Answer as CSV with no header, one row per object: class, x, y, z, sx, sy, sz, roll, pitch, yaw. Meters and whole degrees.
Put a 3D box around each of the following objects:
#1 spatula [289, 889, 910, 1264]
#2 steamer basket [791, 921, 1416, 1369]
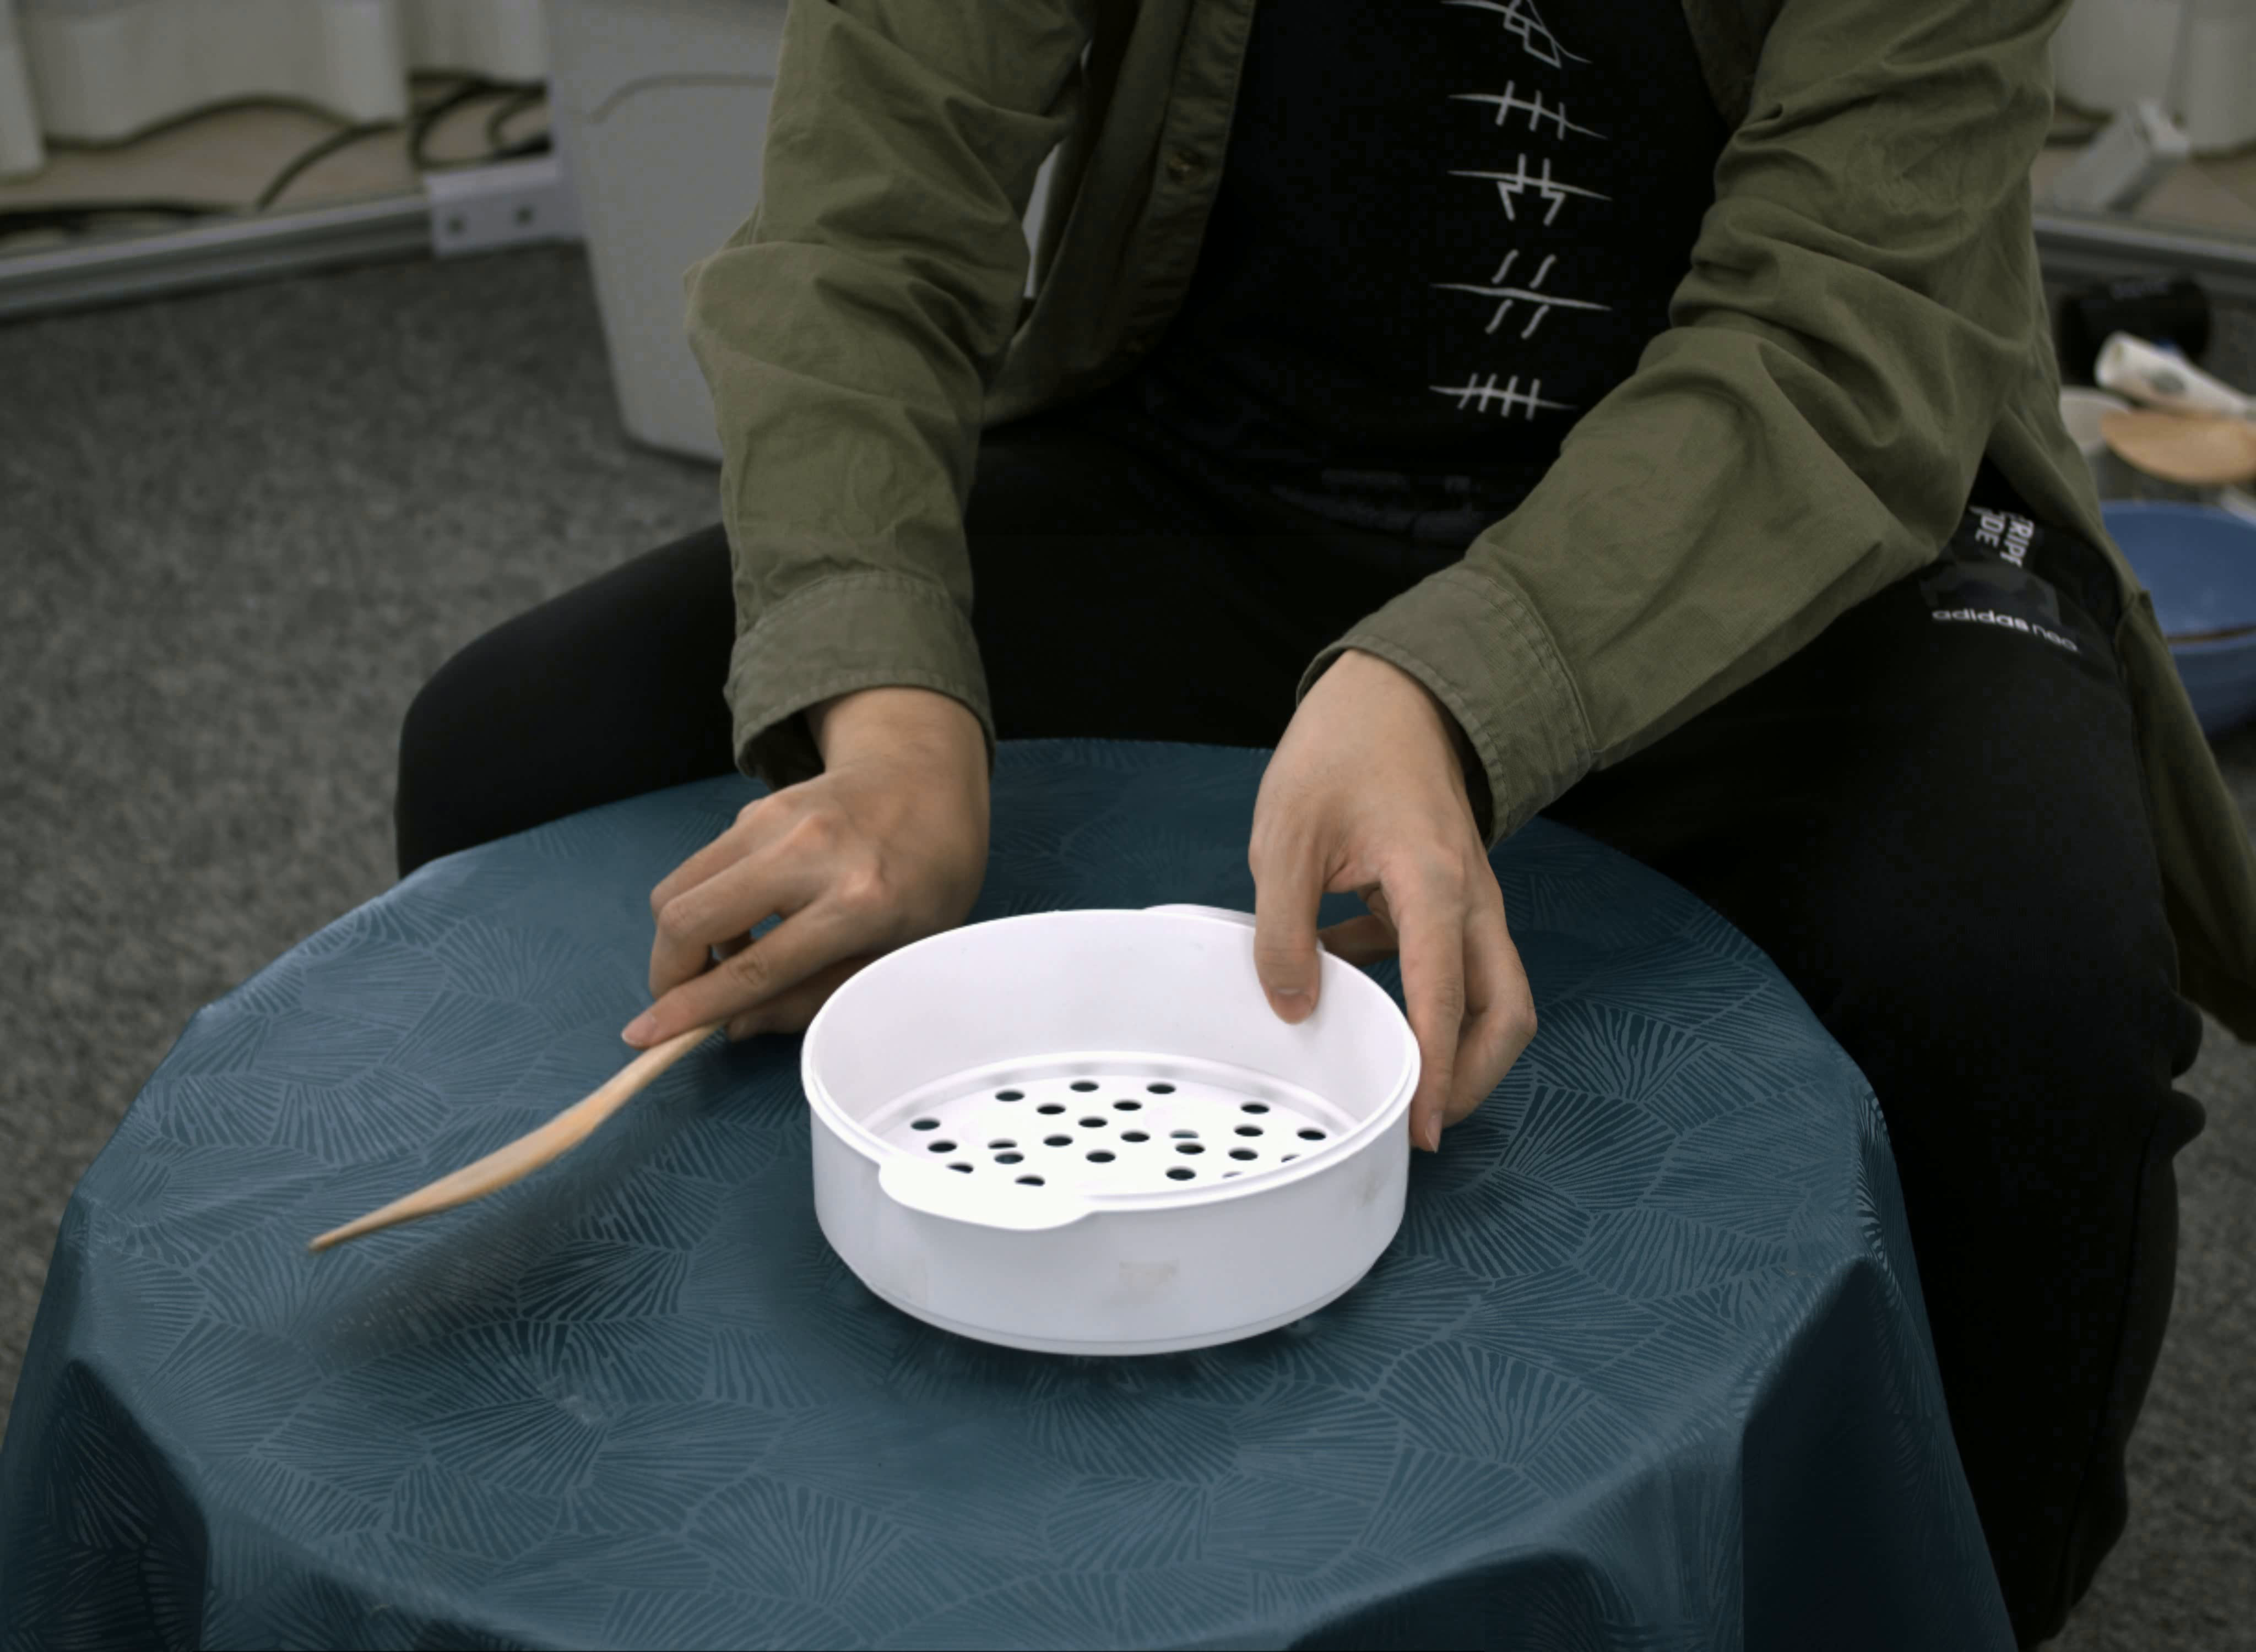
spatula,-0.161,0.079,1.896,0.079,0.016,0.332,-18,11,33
steamer basket,-0.008,0.103,1.815,0.200,0.068,0.234,11,26,21
